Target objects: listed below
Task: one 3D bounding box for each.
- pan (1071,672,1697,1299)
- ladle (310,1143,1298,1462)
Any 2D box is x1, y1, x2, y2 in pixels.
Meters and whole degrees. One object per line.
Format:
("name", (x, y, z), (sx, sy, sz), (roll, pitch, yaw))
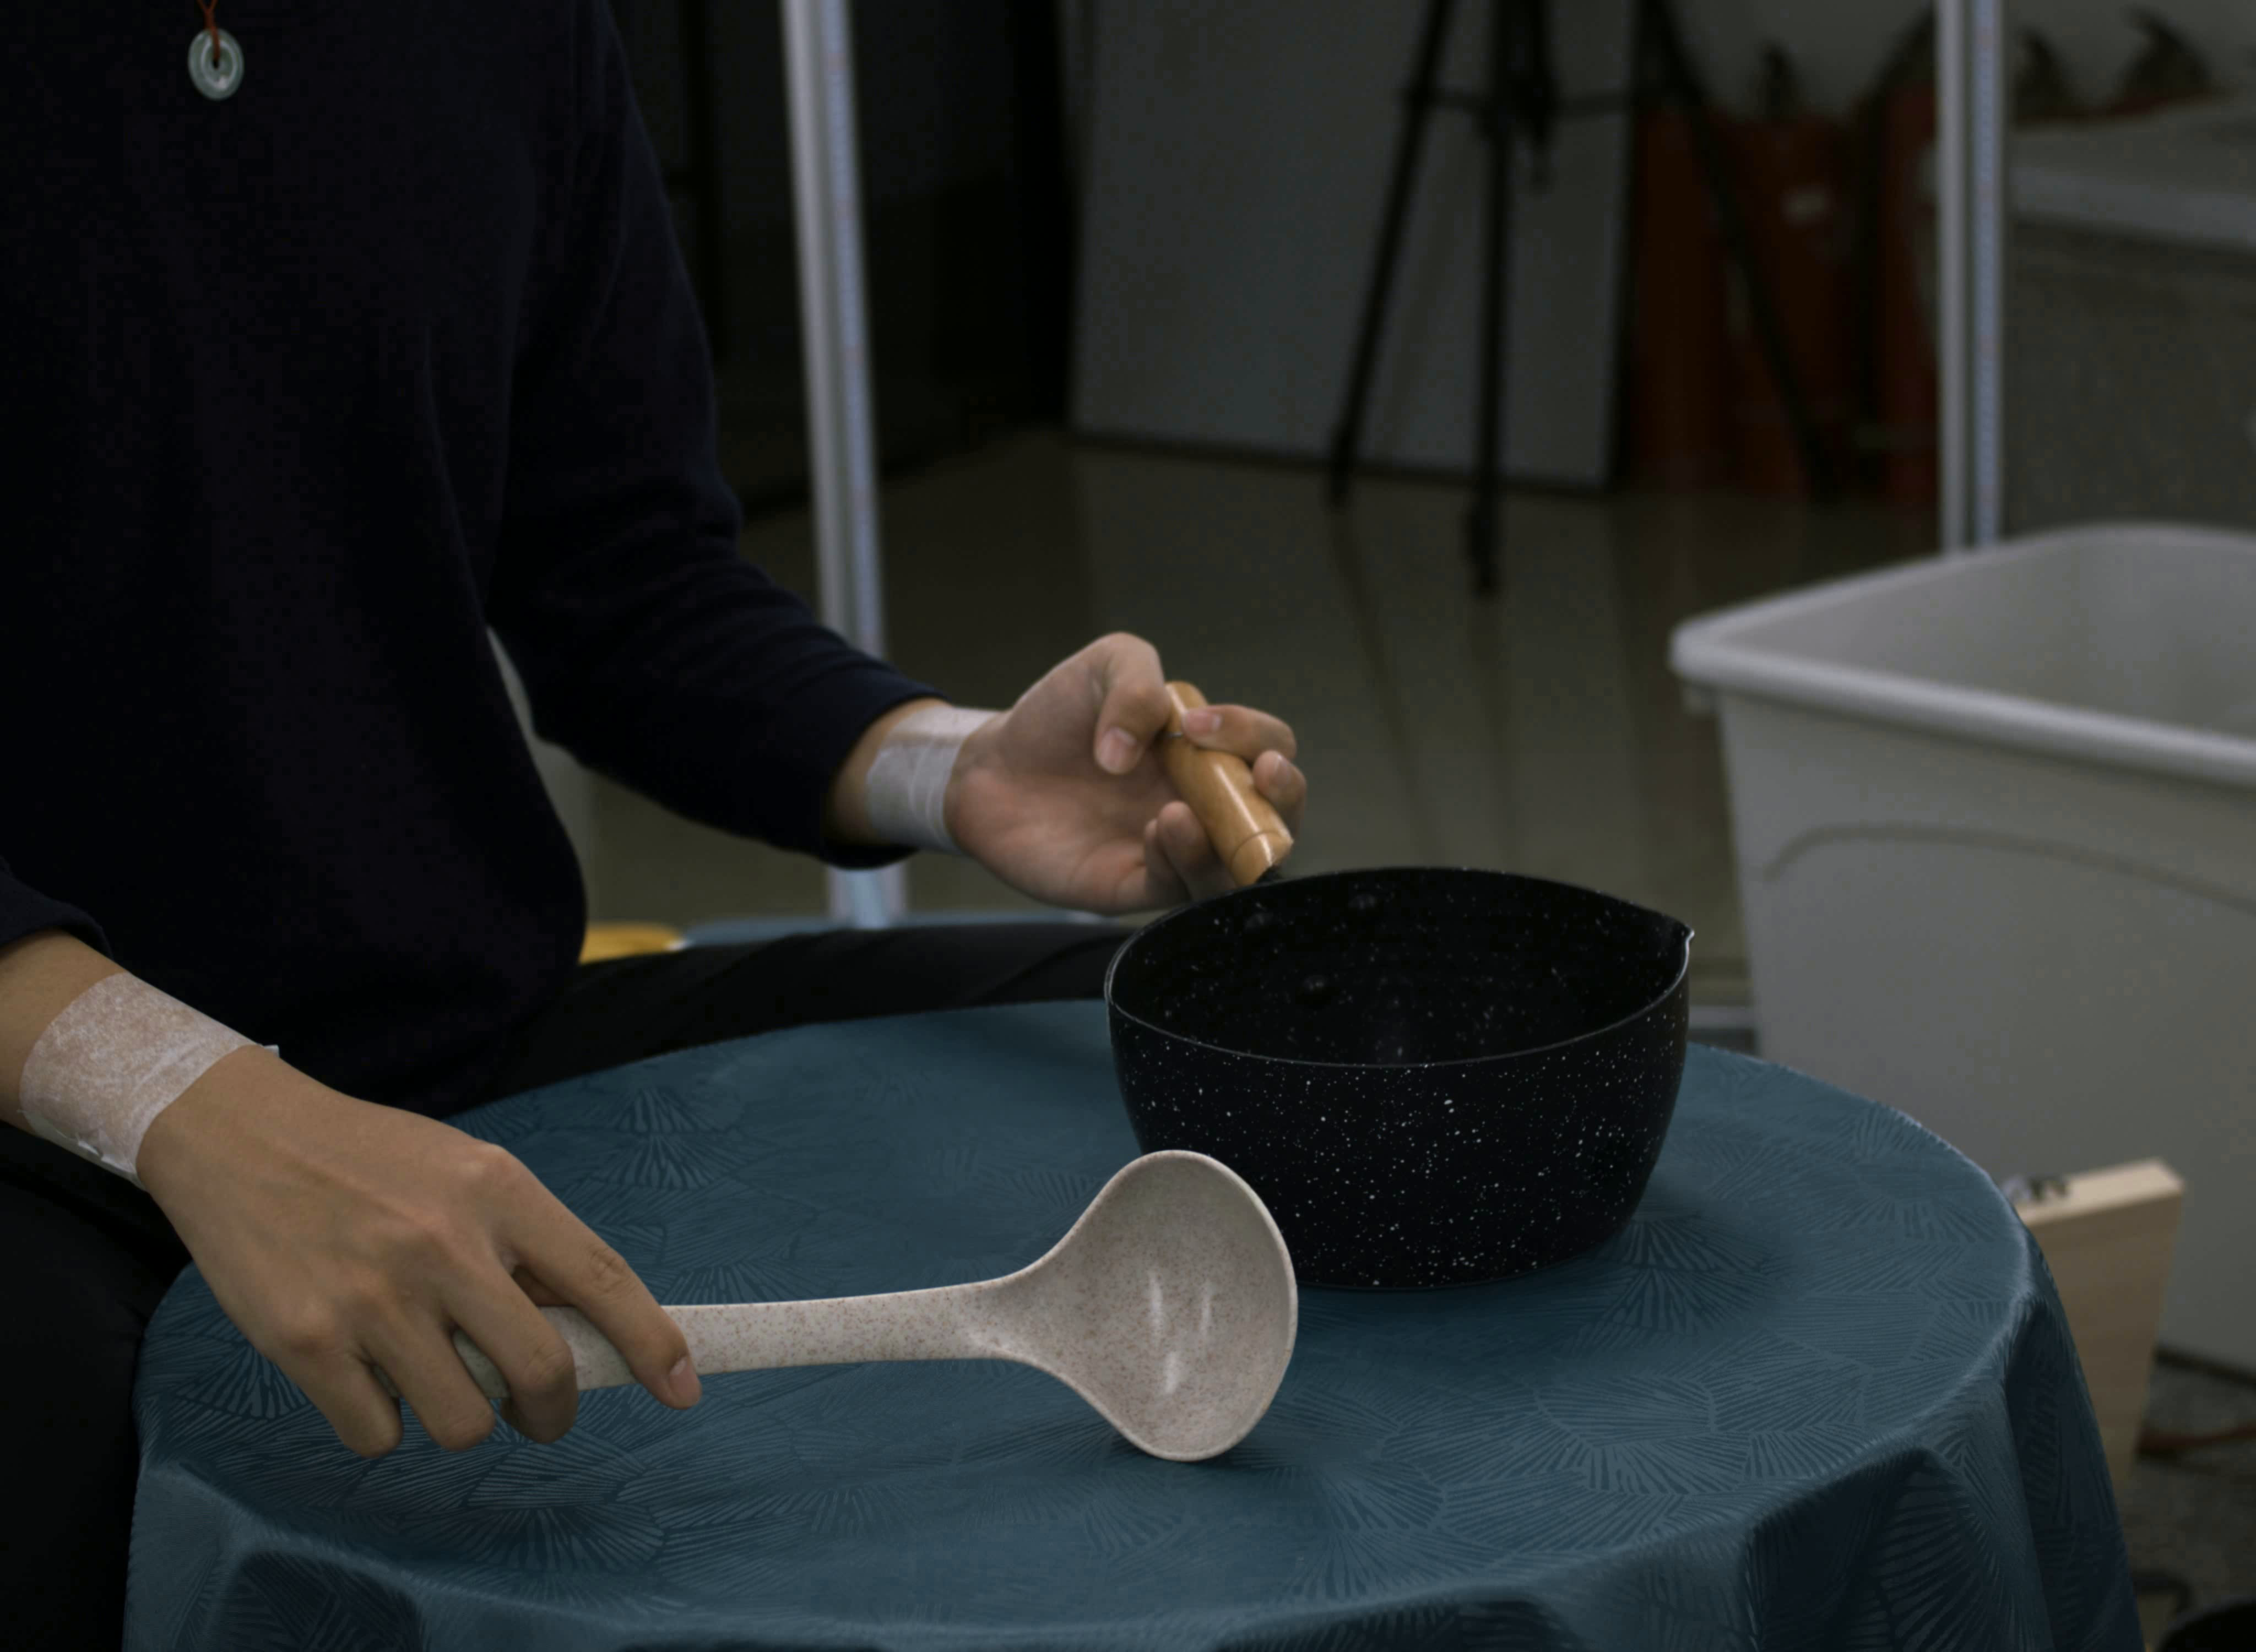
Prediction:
("pan", (0.063, 0.047, 1.781), (0.203, 0.109, 0.346), (-10, 20, -15))
("ladle", (-0.088, 0.140, 1.506), (0.269, 0.090, 0.070), (-3, -1, -13))
